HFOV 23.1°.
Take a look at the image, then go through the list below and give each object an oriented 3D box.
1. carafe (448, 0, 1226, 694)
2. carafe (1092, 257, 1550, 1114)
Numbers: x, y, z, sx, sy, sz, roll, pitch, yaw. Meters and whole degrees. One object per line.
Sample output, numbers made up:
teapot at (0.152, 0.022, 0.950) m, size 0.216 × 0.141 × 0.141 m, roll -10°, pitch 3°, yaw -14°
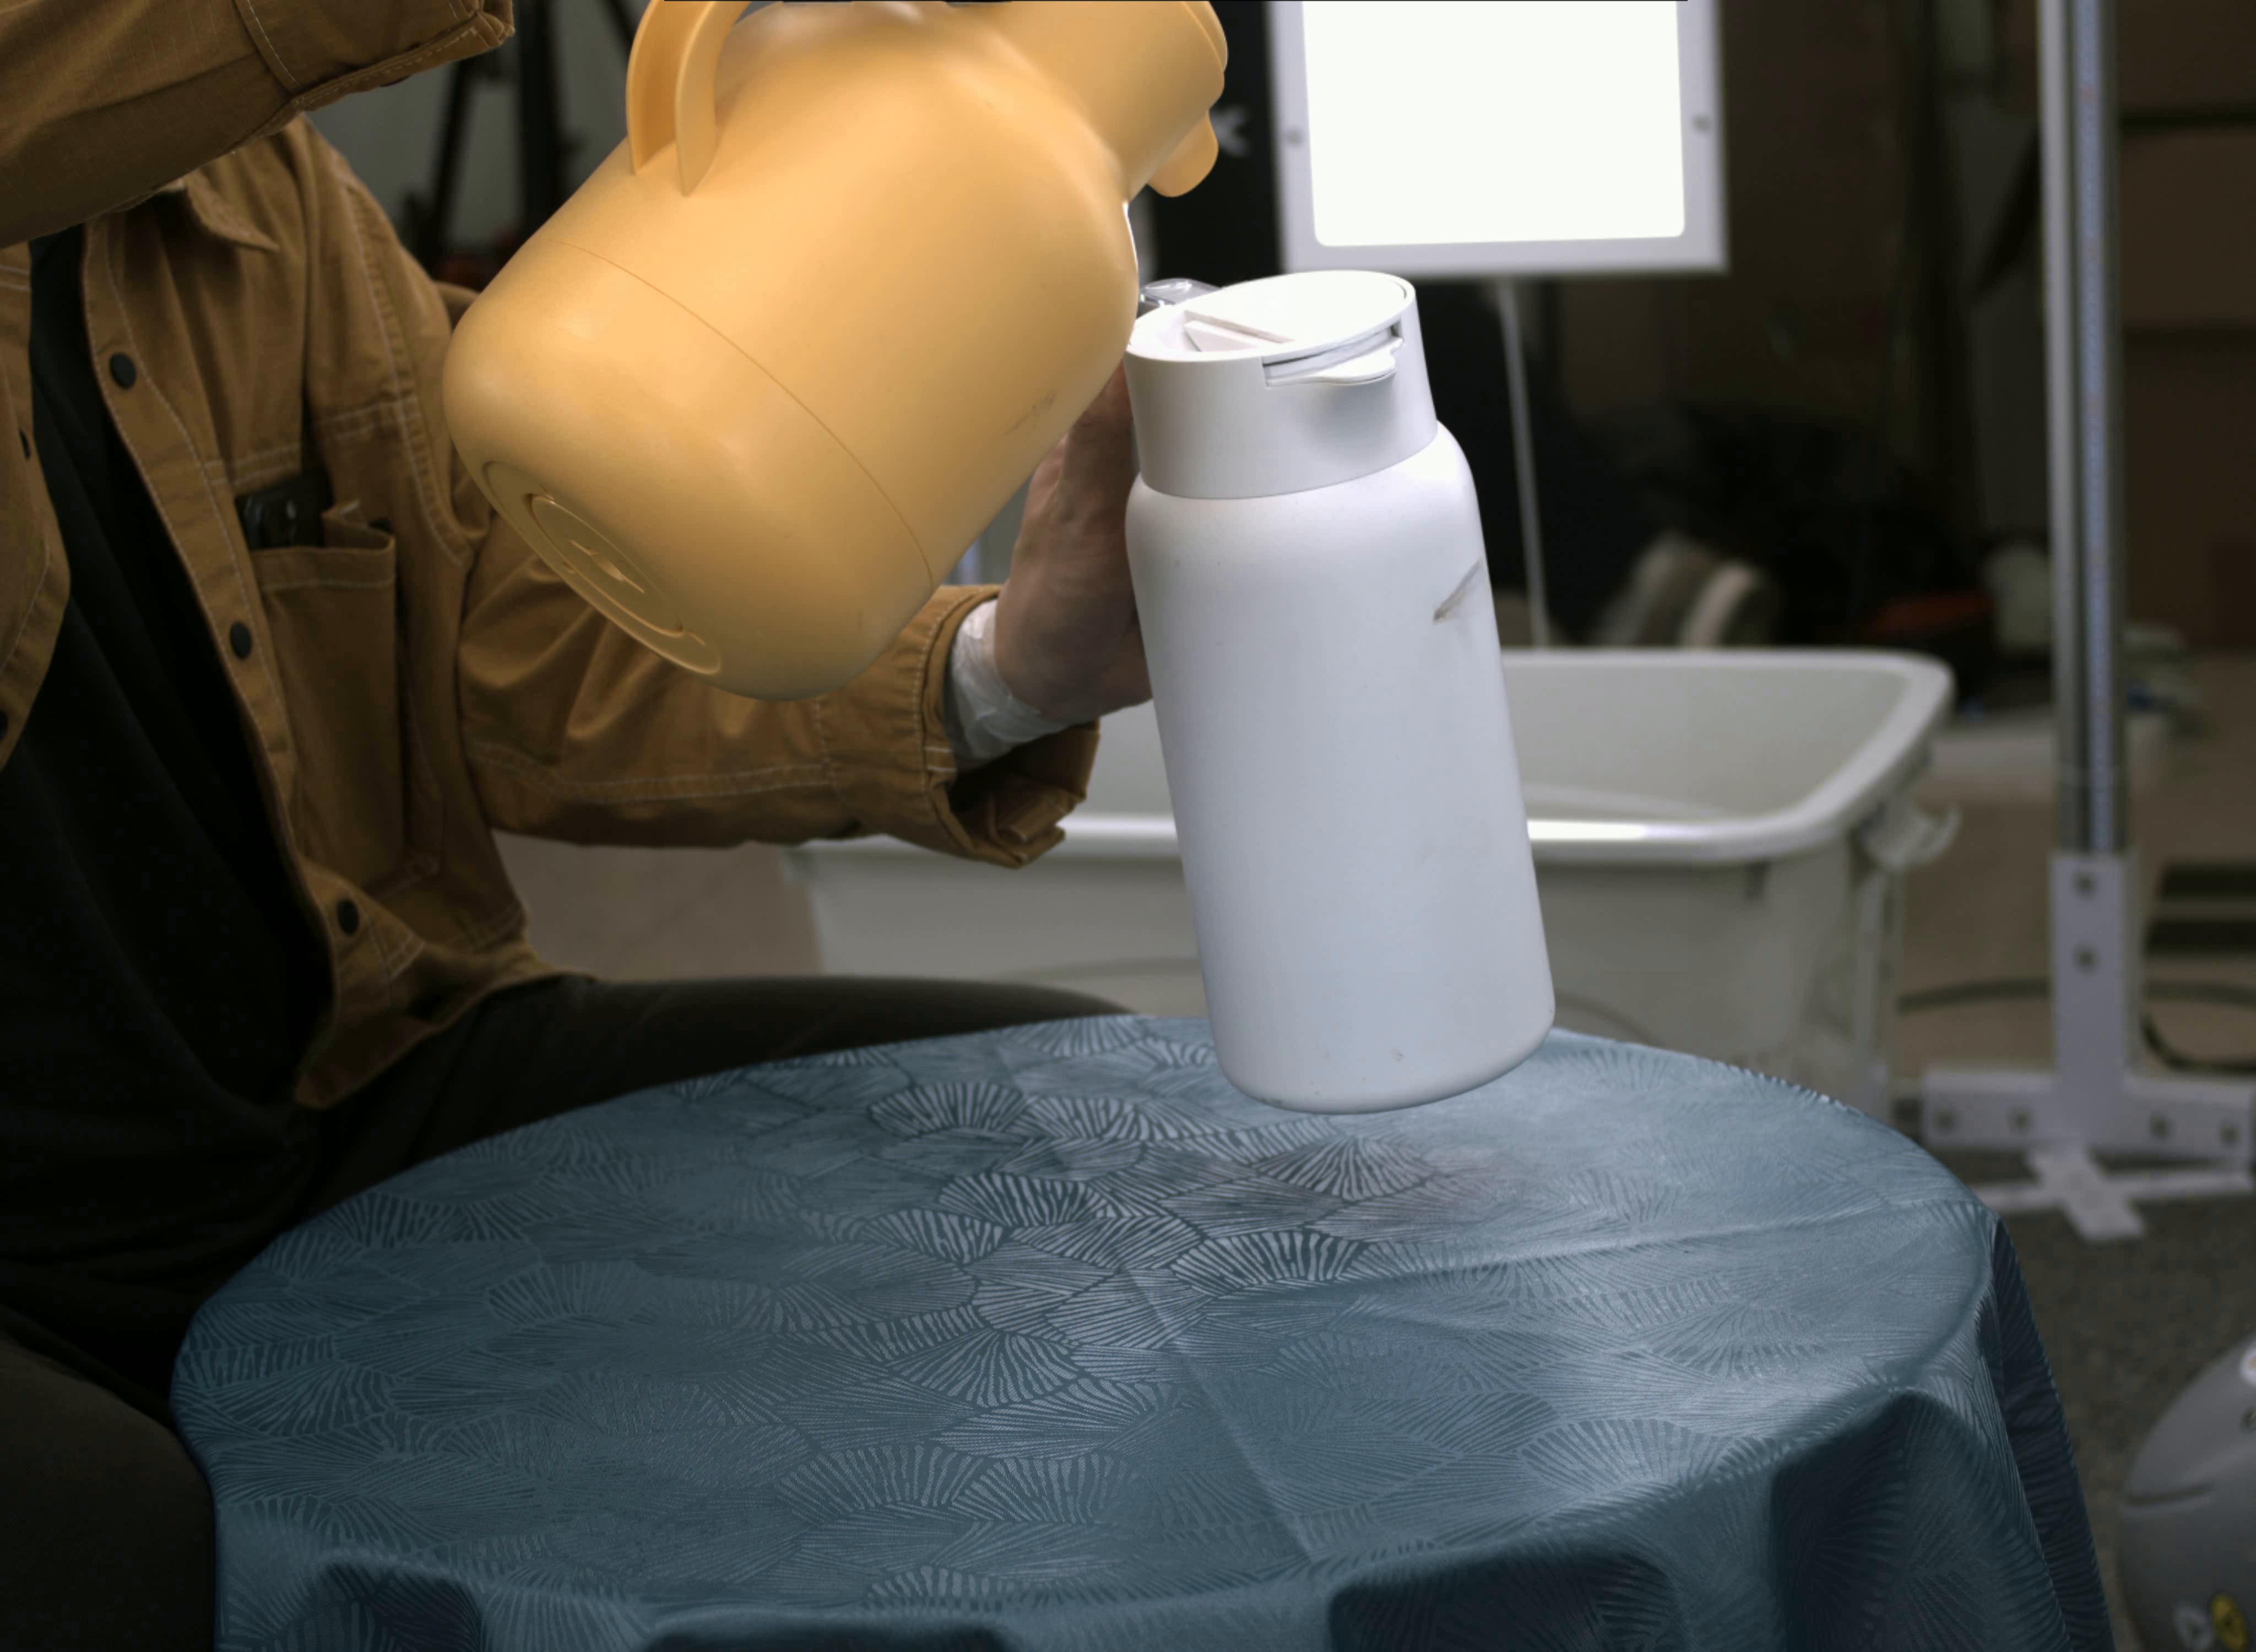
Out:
carafe at (-0.087, -0.189, 1.677) m, size 0.166 × 0.200 × 0.258 m, roll 22°, pitch 67°, yaw 45°
carafe at (0.056, -0.049, 1.842) m, size 0.121 × 0.269 × 0.176 m, roll -22°, pitch 22°, yaw -24°
